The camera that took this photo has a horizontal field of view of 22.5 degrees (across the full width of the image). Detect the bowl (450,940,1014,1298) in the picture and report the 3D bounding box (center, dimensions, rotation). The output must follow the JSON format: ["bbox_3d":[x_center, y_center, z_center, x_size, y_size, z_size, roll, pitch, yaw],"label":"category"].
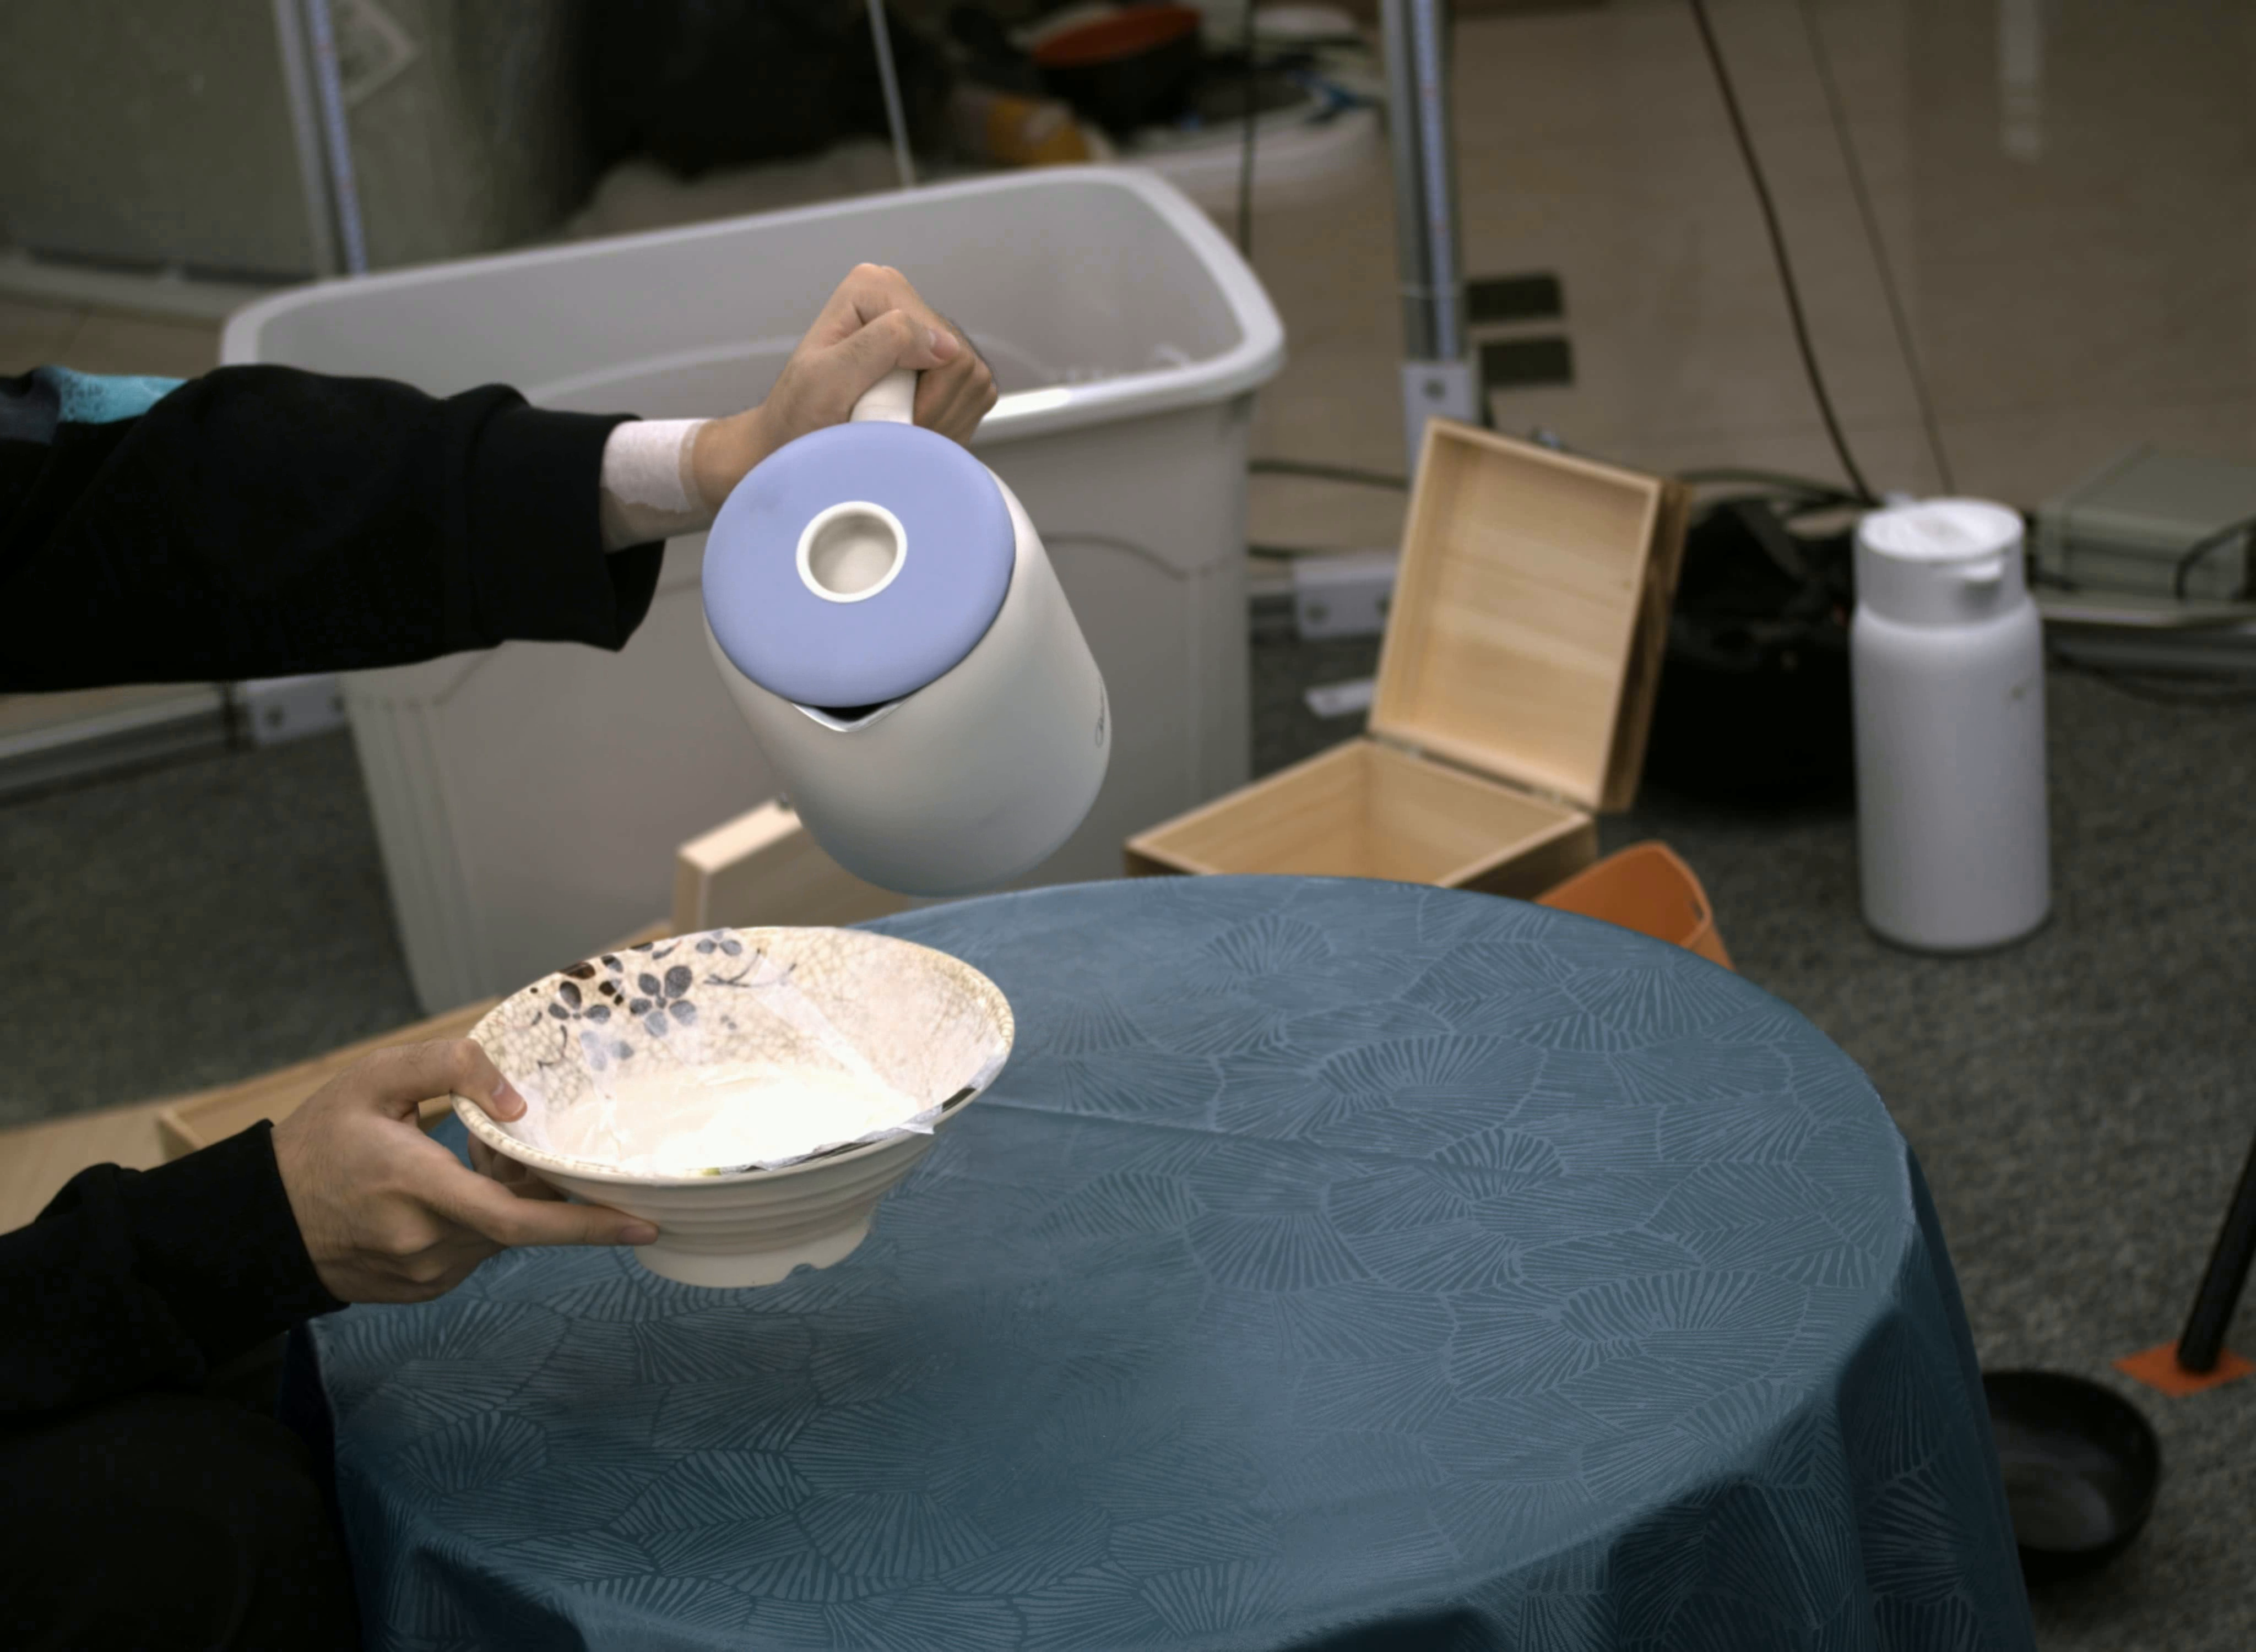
[{"bbox_3d":[-0.136,0.115,2.031,0.204,0.079,0.201,-7,22,3],"label":"bowl"}]

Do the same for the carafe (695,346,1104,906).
[{"bbox_3d":[-0.086,-0.084,2.156,0.132,0.185,0.188,-4,62,9],"label":"carafe"}]
